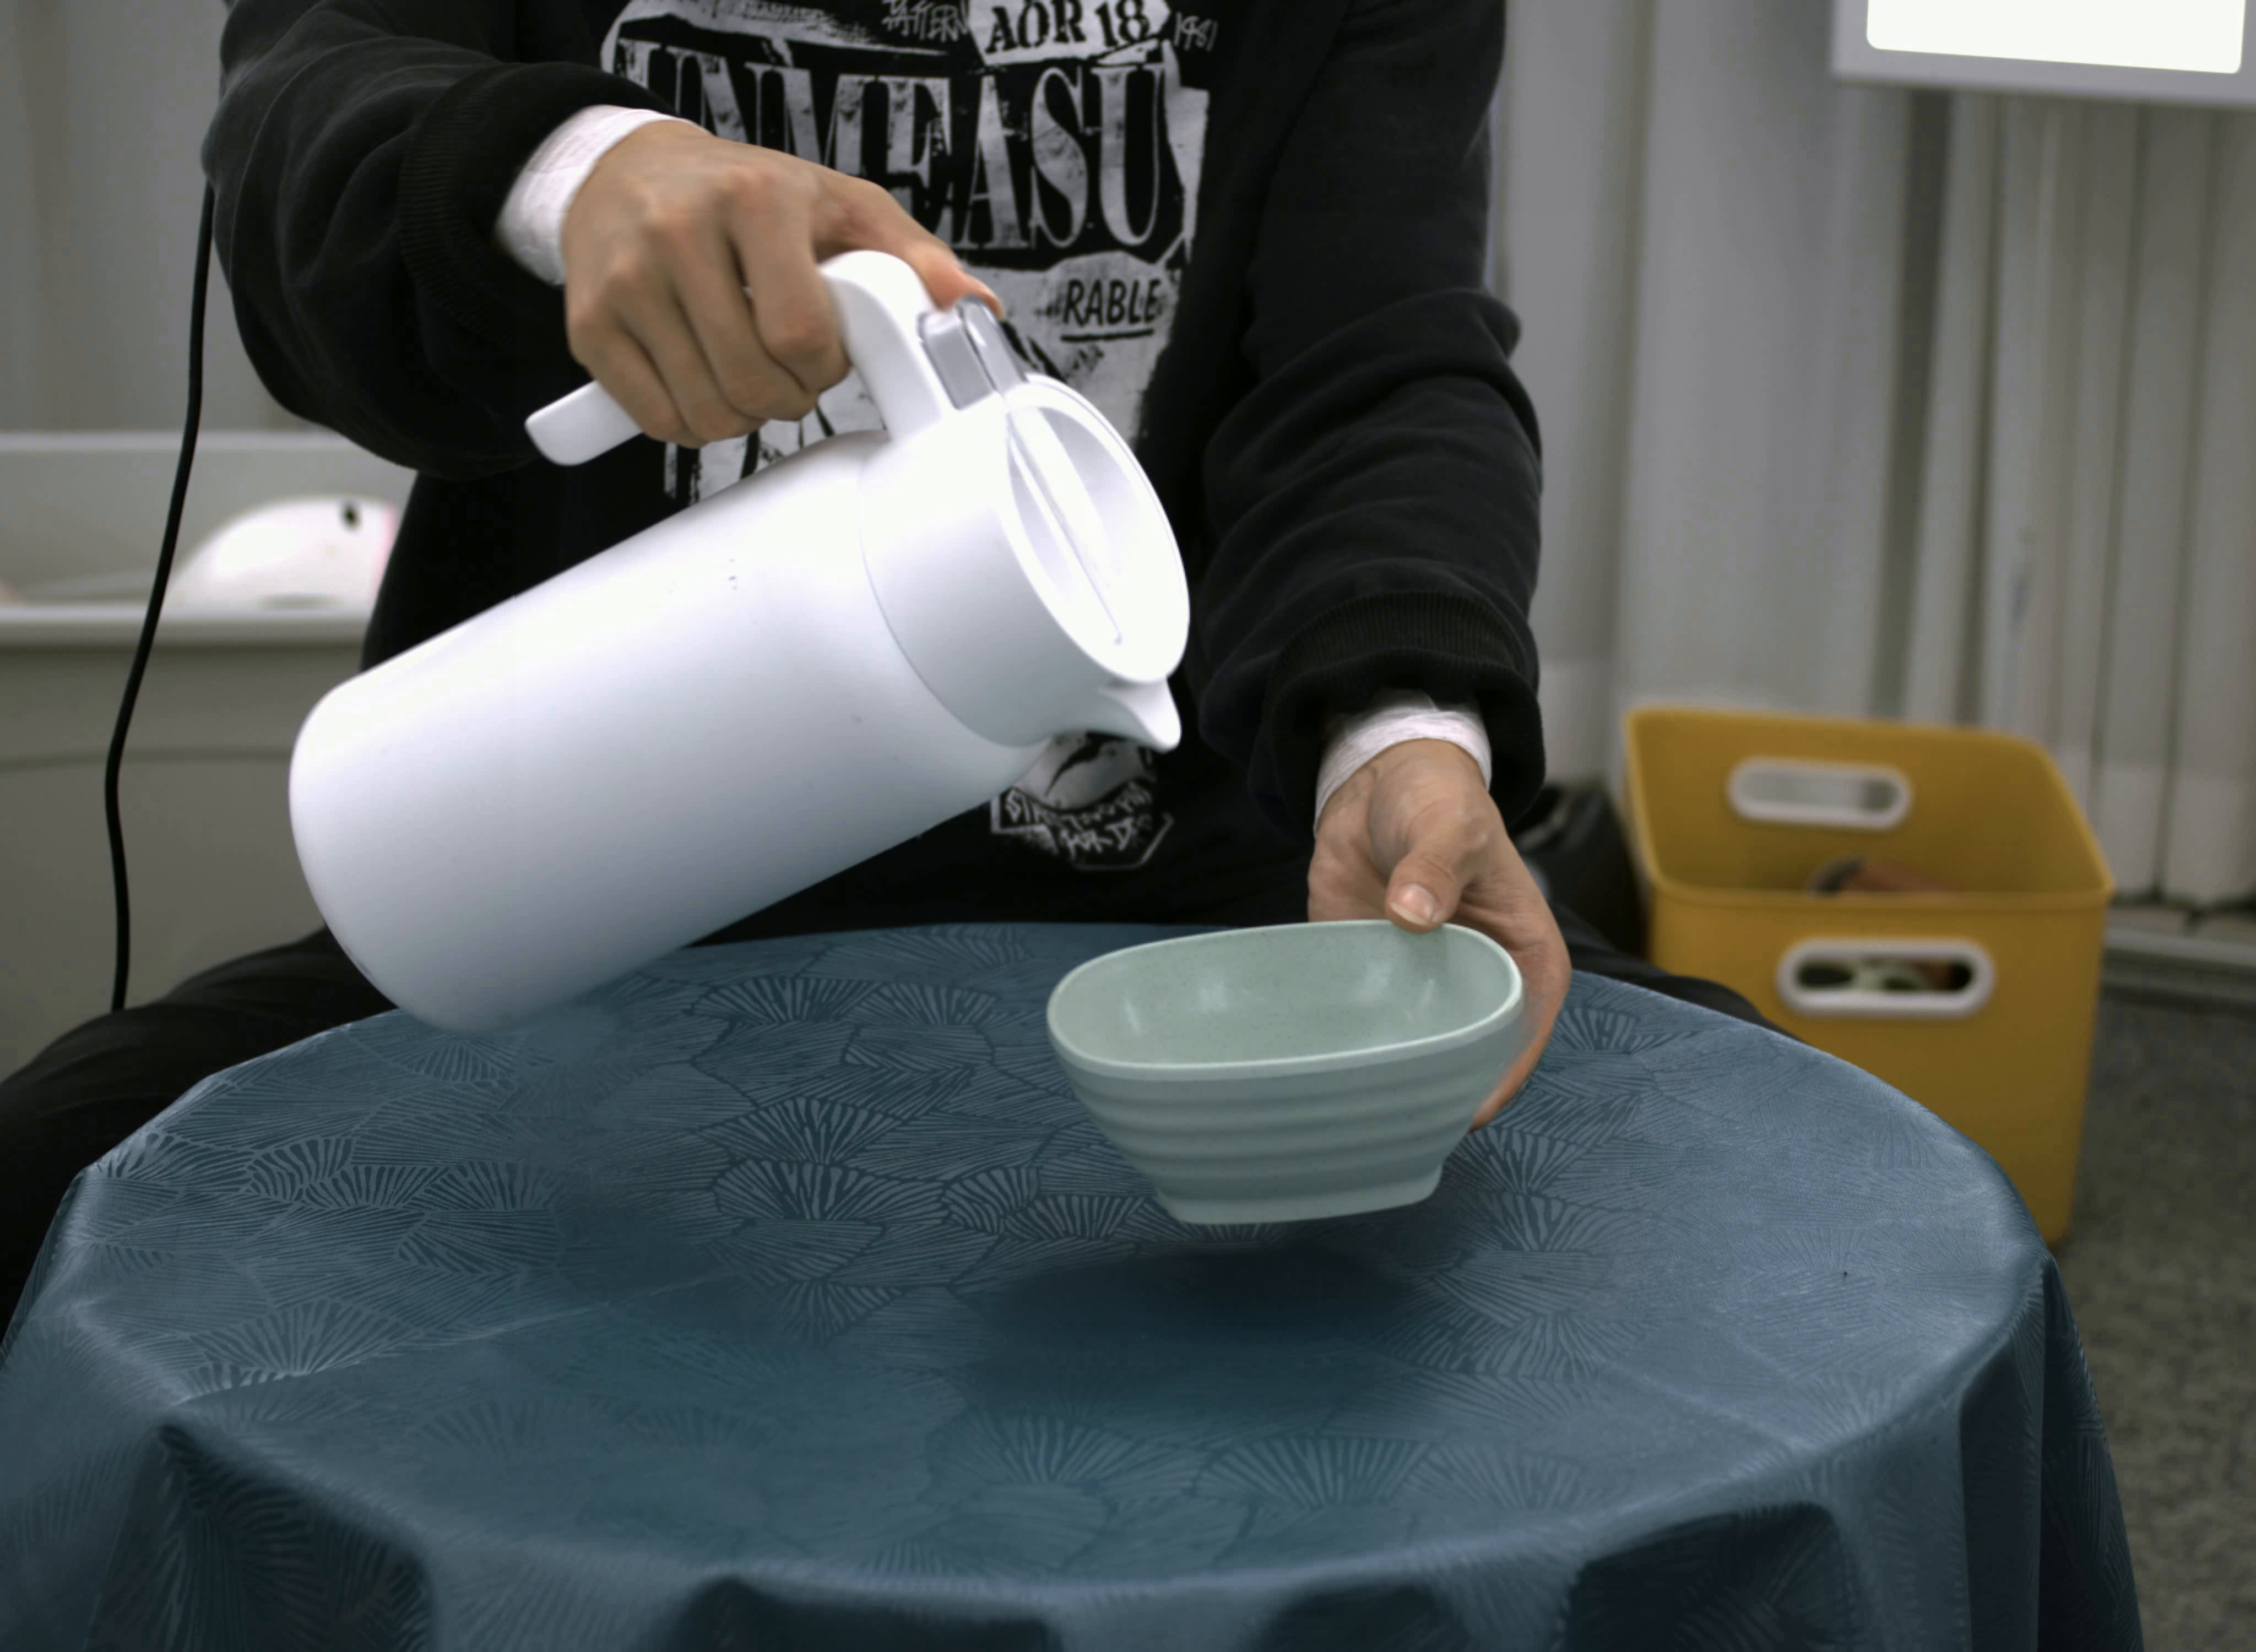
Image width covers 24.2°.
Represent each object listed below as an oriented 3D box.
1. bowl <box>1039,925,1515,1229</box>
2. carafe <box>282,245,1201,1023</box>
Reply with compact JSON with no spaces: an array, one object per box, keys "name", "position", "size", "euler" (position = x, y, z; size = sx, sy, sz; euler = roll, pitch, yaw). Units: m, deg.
[{"name":"bowl","position":[0.045,0.076,1.541],"size":[0.151,0.059,0.150],"euler":[-4,15,2]},{"name":"carafe","position":[-0.125,-0.053,1.555],"size":[0.267,0.174,0.124],"euler":[-23,10,29]}]
